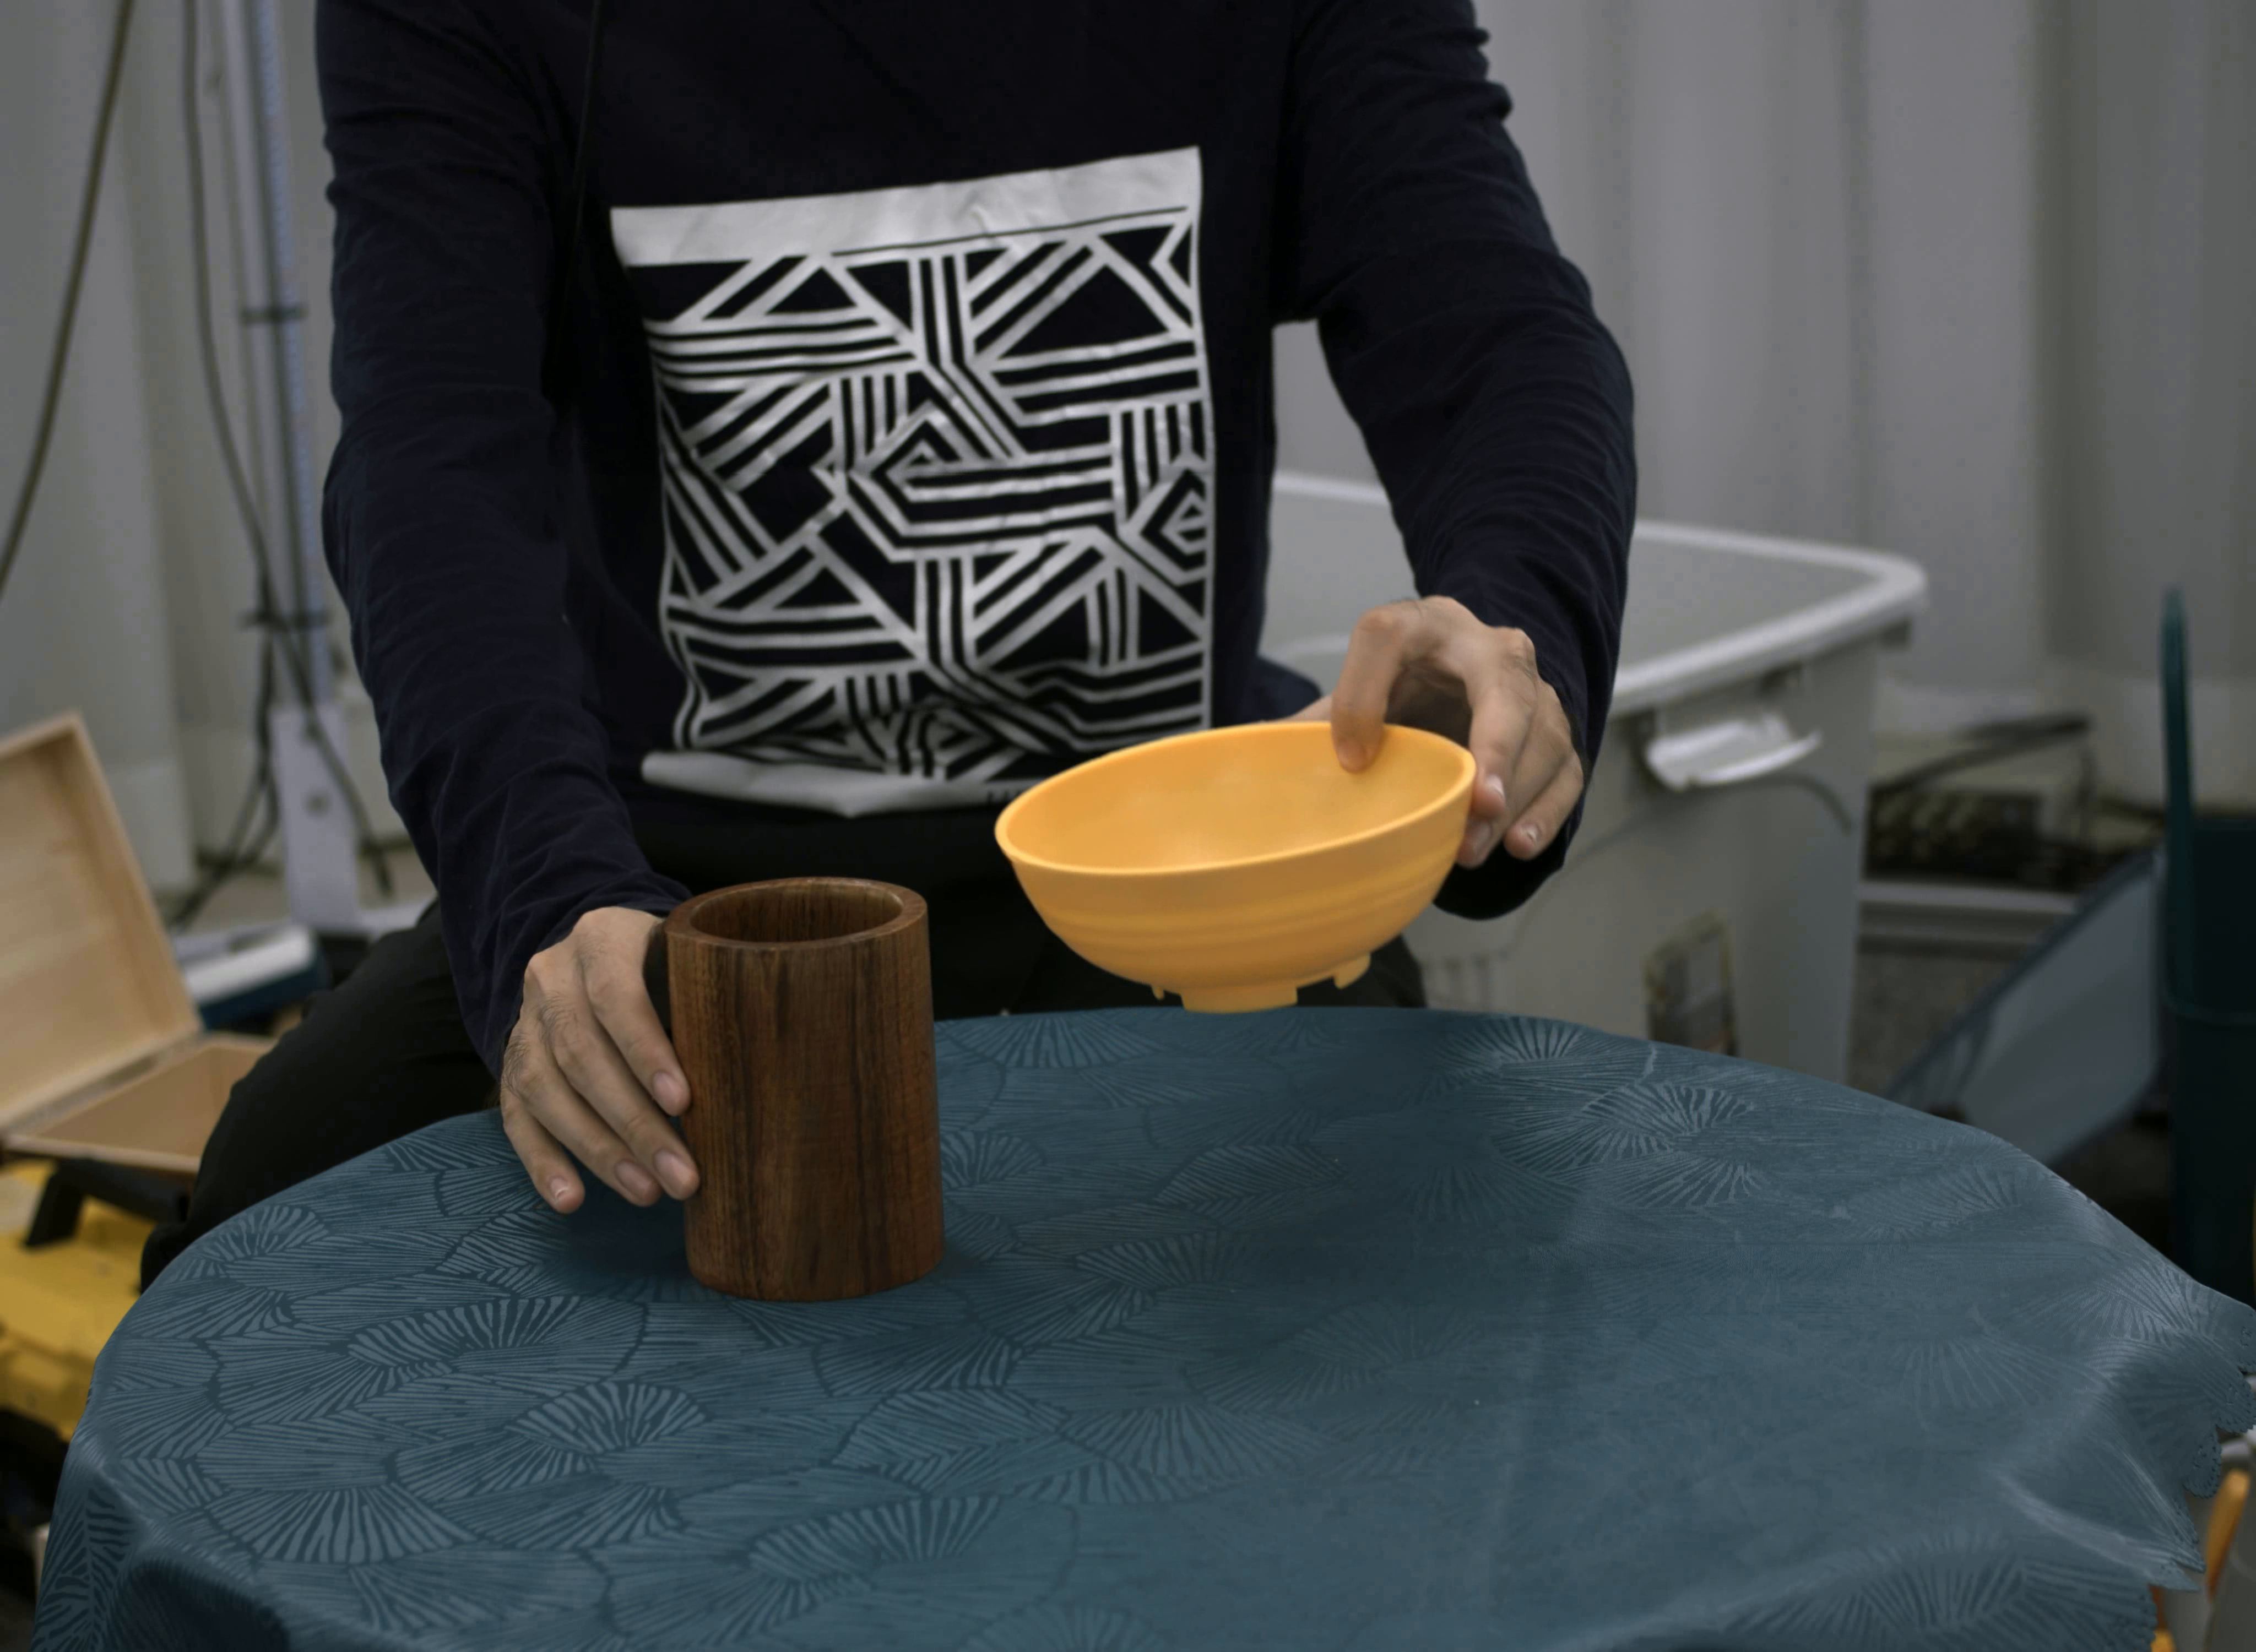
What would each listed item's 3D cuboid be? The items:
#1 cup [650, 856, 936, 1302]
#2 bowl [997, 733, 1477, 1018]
[{"bbox_3d":[-0.102,0.075,1.654,0.087,0.118,0.088,1,14,0],"label":"cup"},{"bbox_3d":[0.036,0.019,1.637,0.145,0.060,0.146,-8,15,2],"label":"bowl"}]
